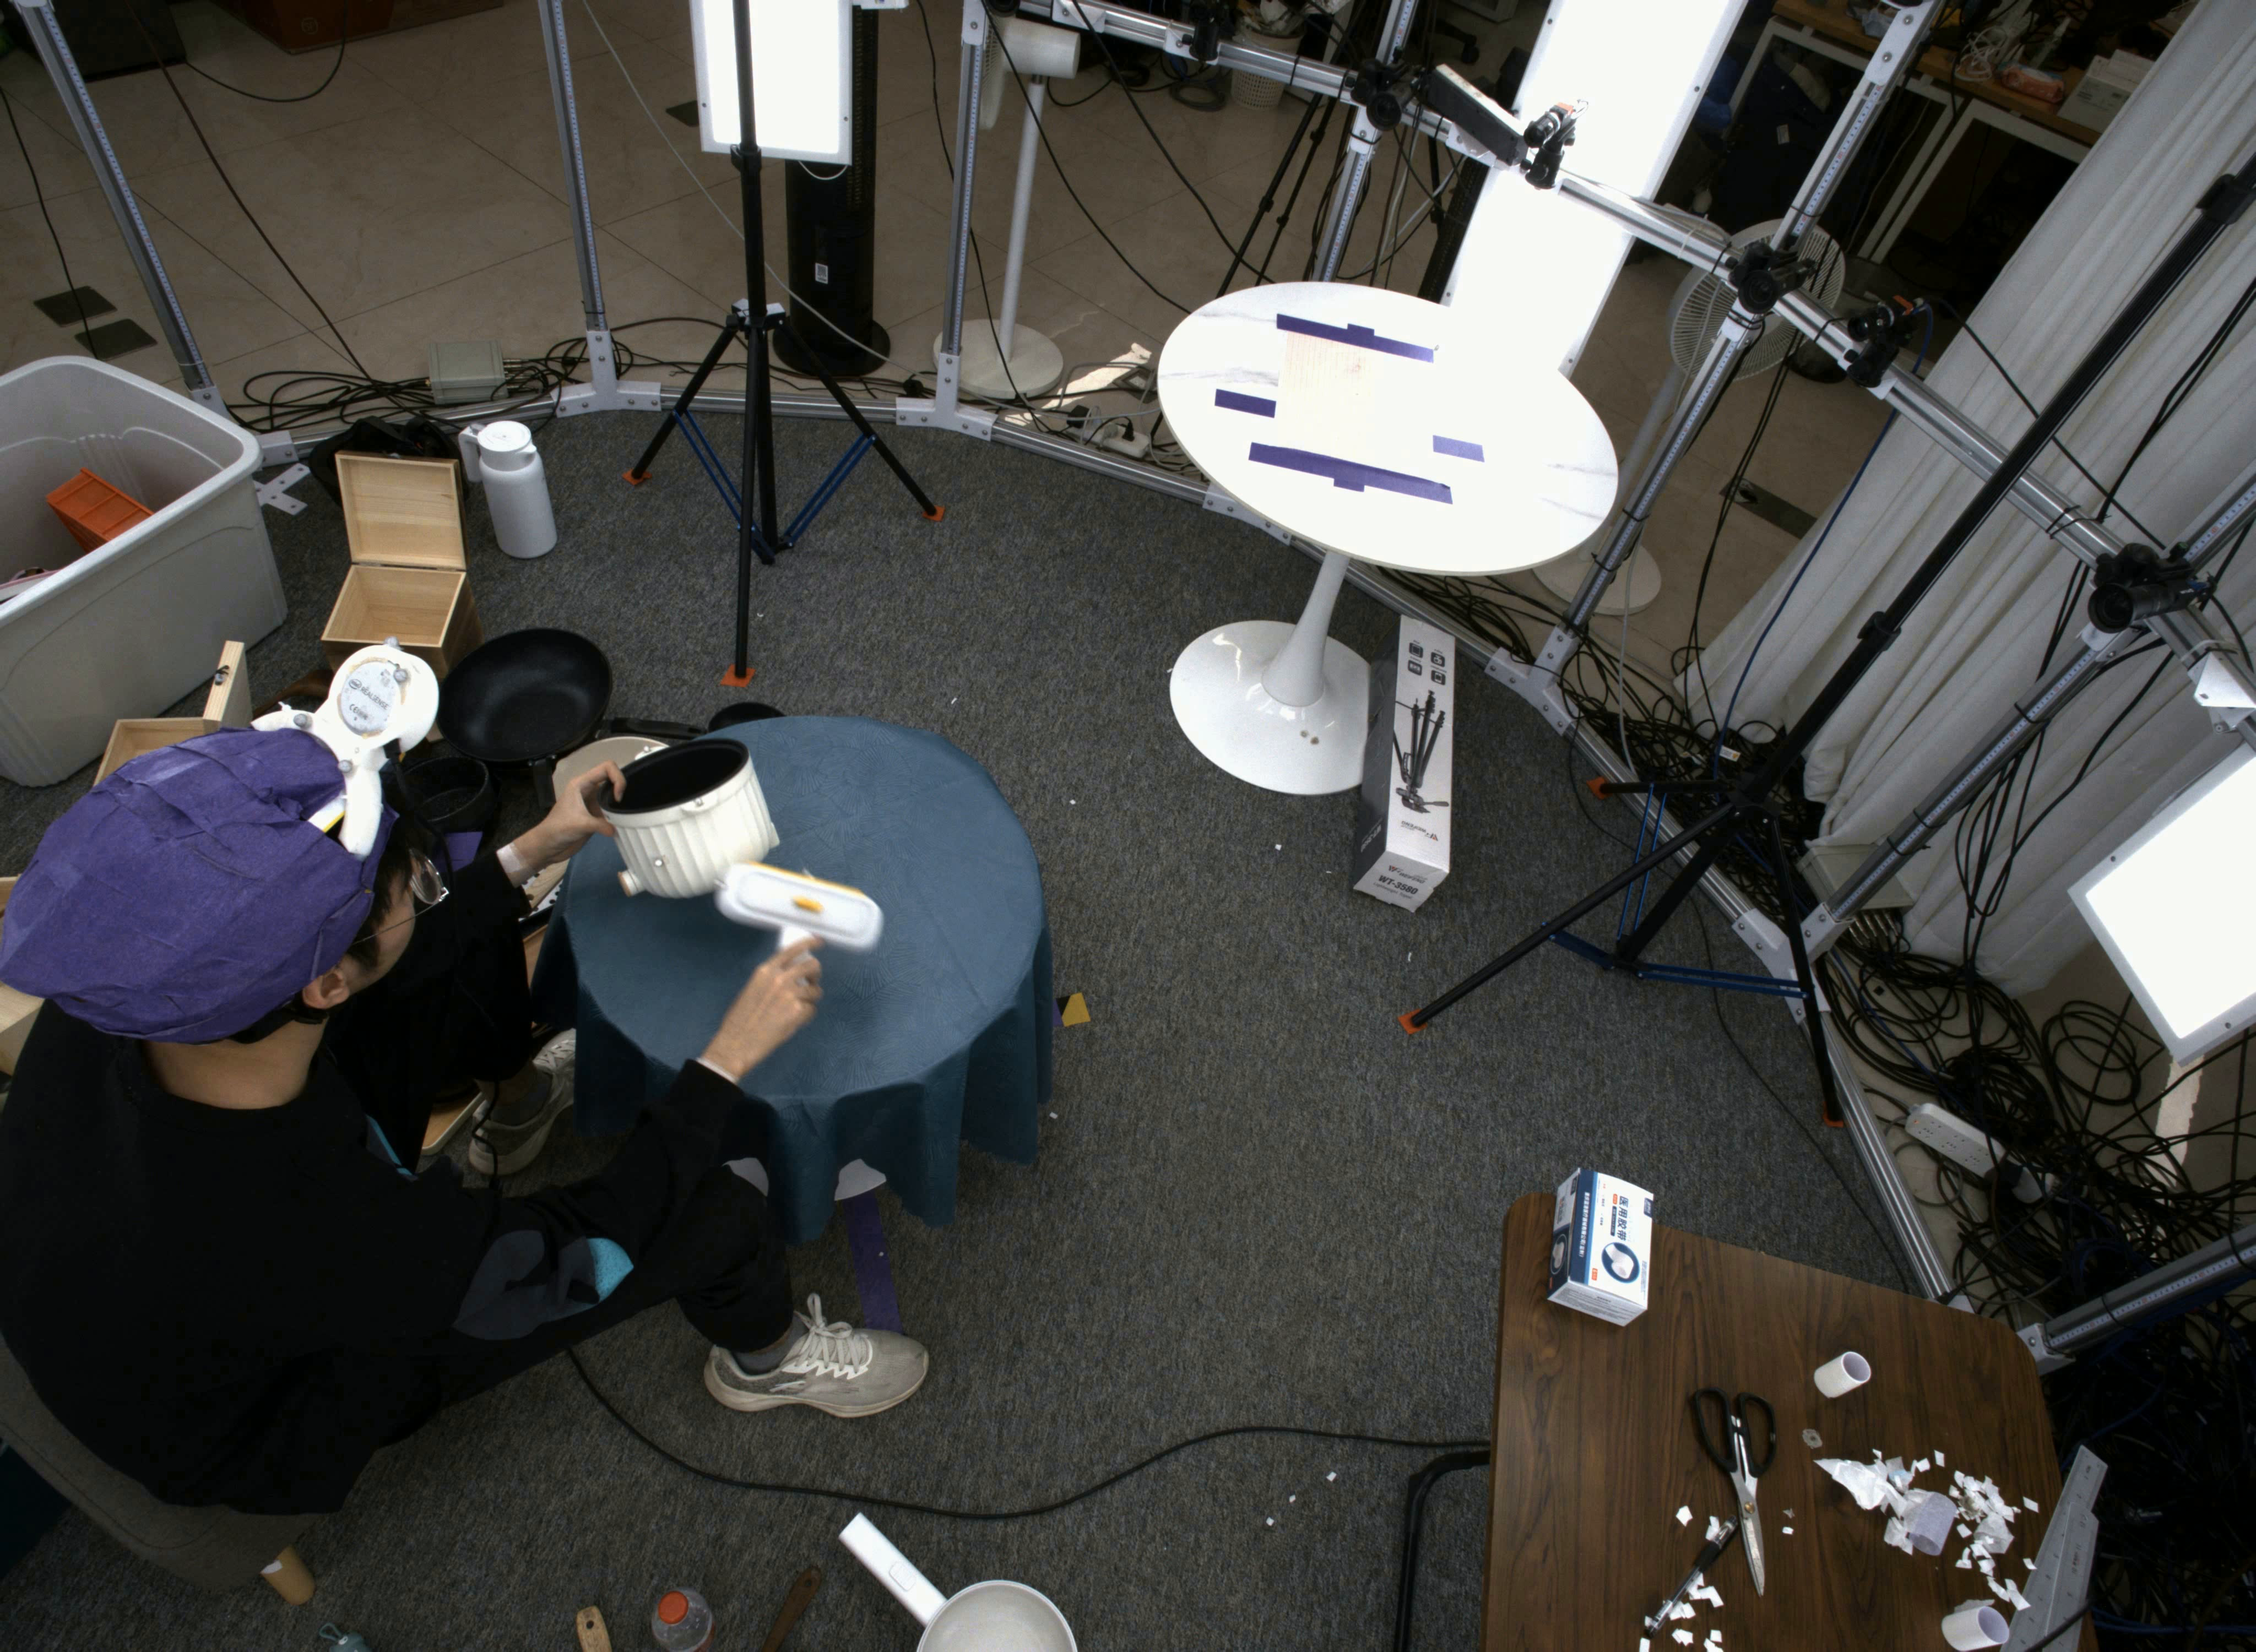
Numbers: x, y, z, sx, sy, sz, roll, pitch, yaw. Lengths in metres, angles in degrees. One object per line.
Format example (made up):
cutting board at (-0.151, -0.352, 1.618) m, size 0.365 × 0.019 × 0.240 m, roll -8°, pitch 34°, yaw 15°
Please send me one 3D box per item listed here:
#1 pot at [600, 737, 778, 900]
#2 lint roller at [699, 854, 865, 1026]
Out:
pot at (-0.525, -0.003, 1.530) m, size 0.191 × 0.147 × 0.231 m, roll -24°, pitch 30°, yaw -27°
lint roller at (-0.392, 0.133, 1.475) m, size 0.197 × 0.073 × 0.191 m, roll 15°, pitch 66°, yaw -36°
